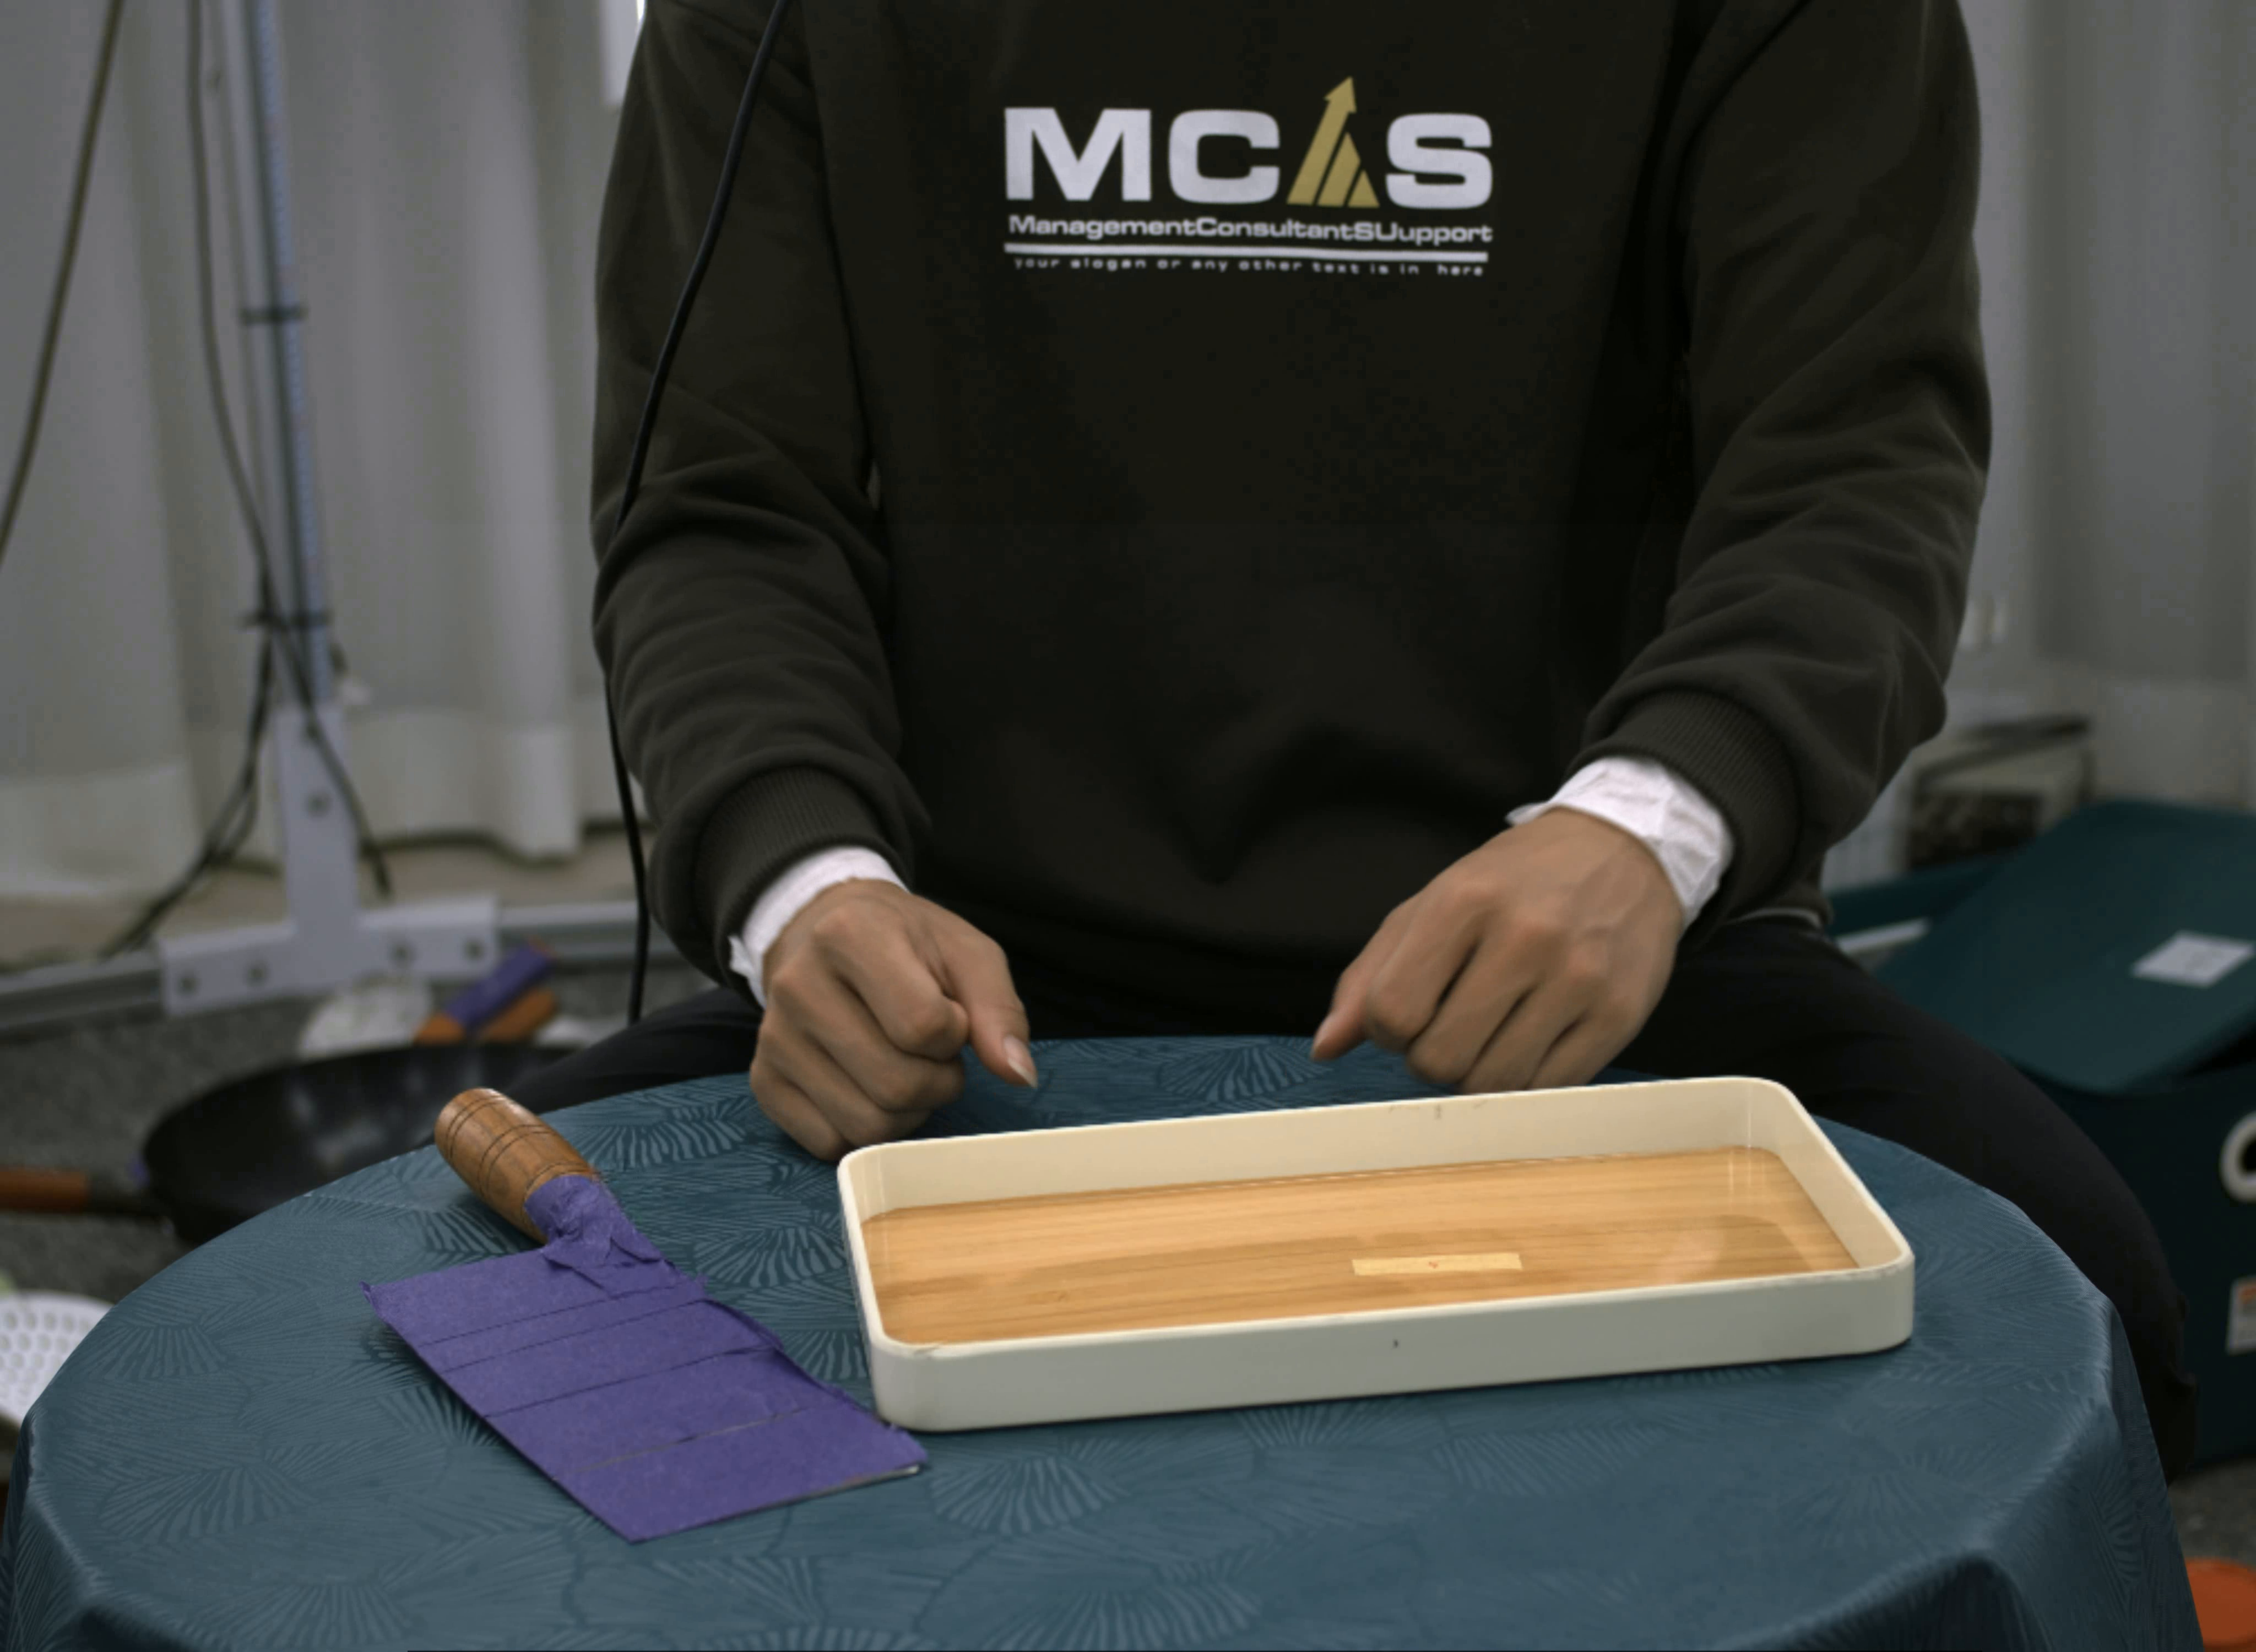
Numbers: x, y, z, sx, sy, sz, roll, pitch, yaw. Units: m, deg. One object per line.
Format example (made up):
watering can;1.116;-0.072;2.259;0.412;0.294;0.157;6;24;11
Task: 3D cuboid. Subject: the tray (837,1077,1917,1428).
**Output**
tray;0.068;0.124;1.618;0.299;0.027;0.193;-4;14;-5

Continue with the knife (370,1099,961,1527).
knife;-0.164;0.139;1.603;0.103;0.032;0.318;-10;17;-27
